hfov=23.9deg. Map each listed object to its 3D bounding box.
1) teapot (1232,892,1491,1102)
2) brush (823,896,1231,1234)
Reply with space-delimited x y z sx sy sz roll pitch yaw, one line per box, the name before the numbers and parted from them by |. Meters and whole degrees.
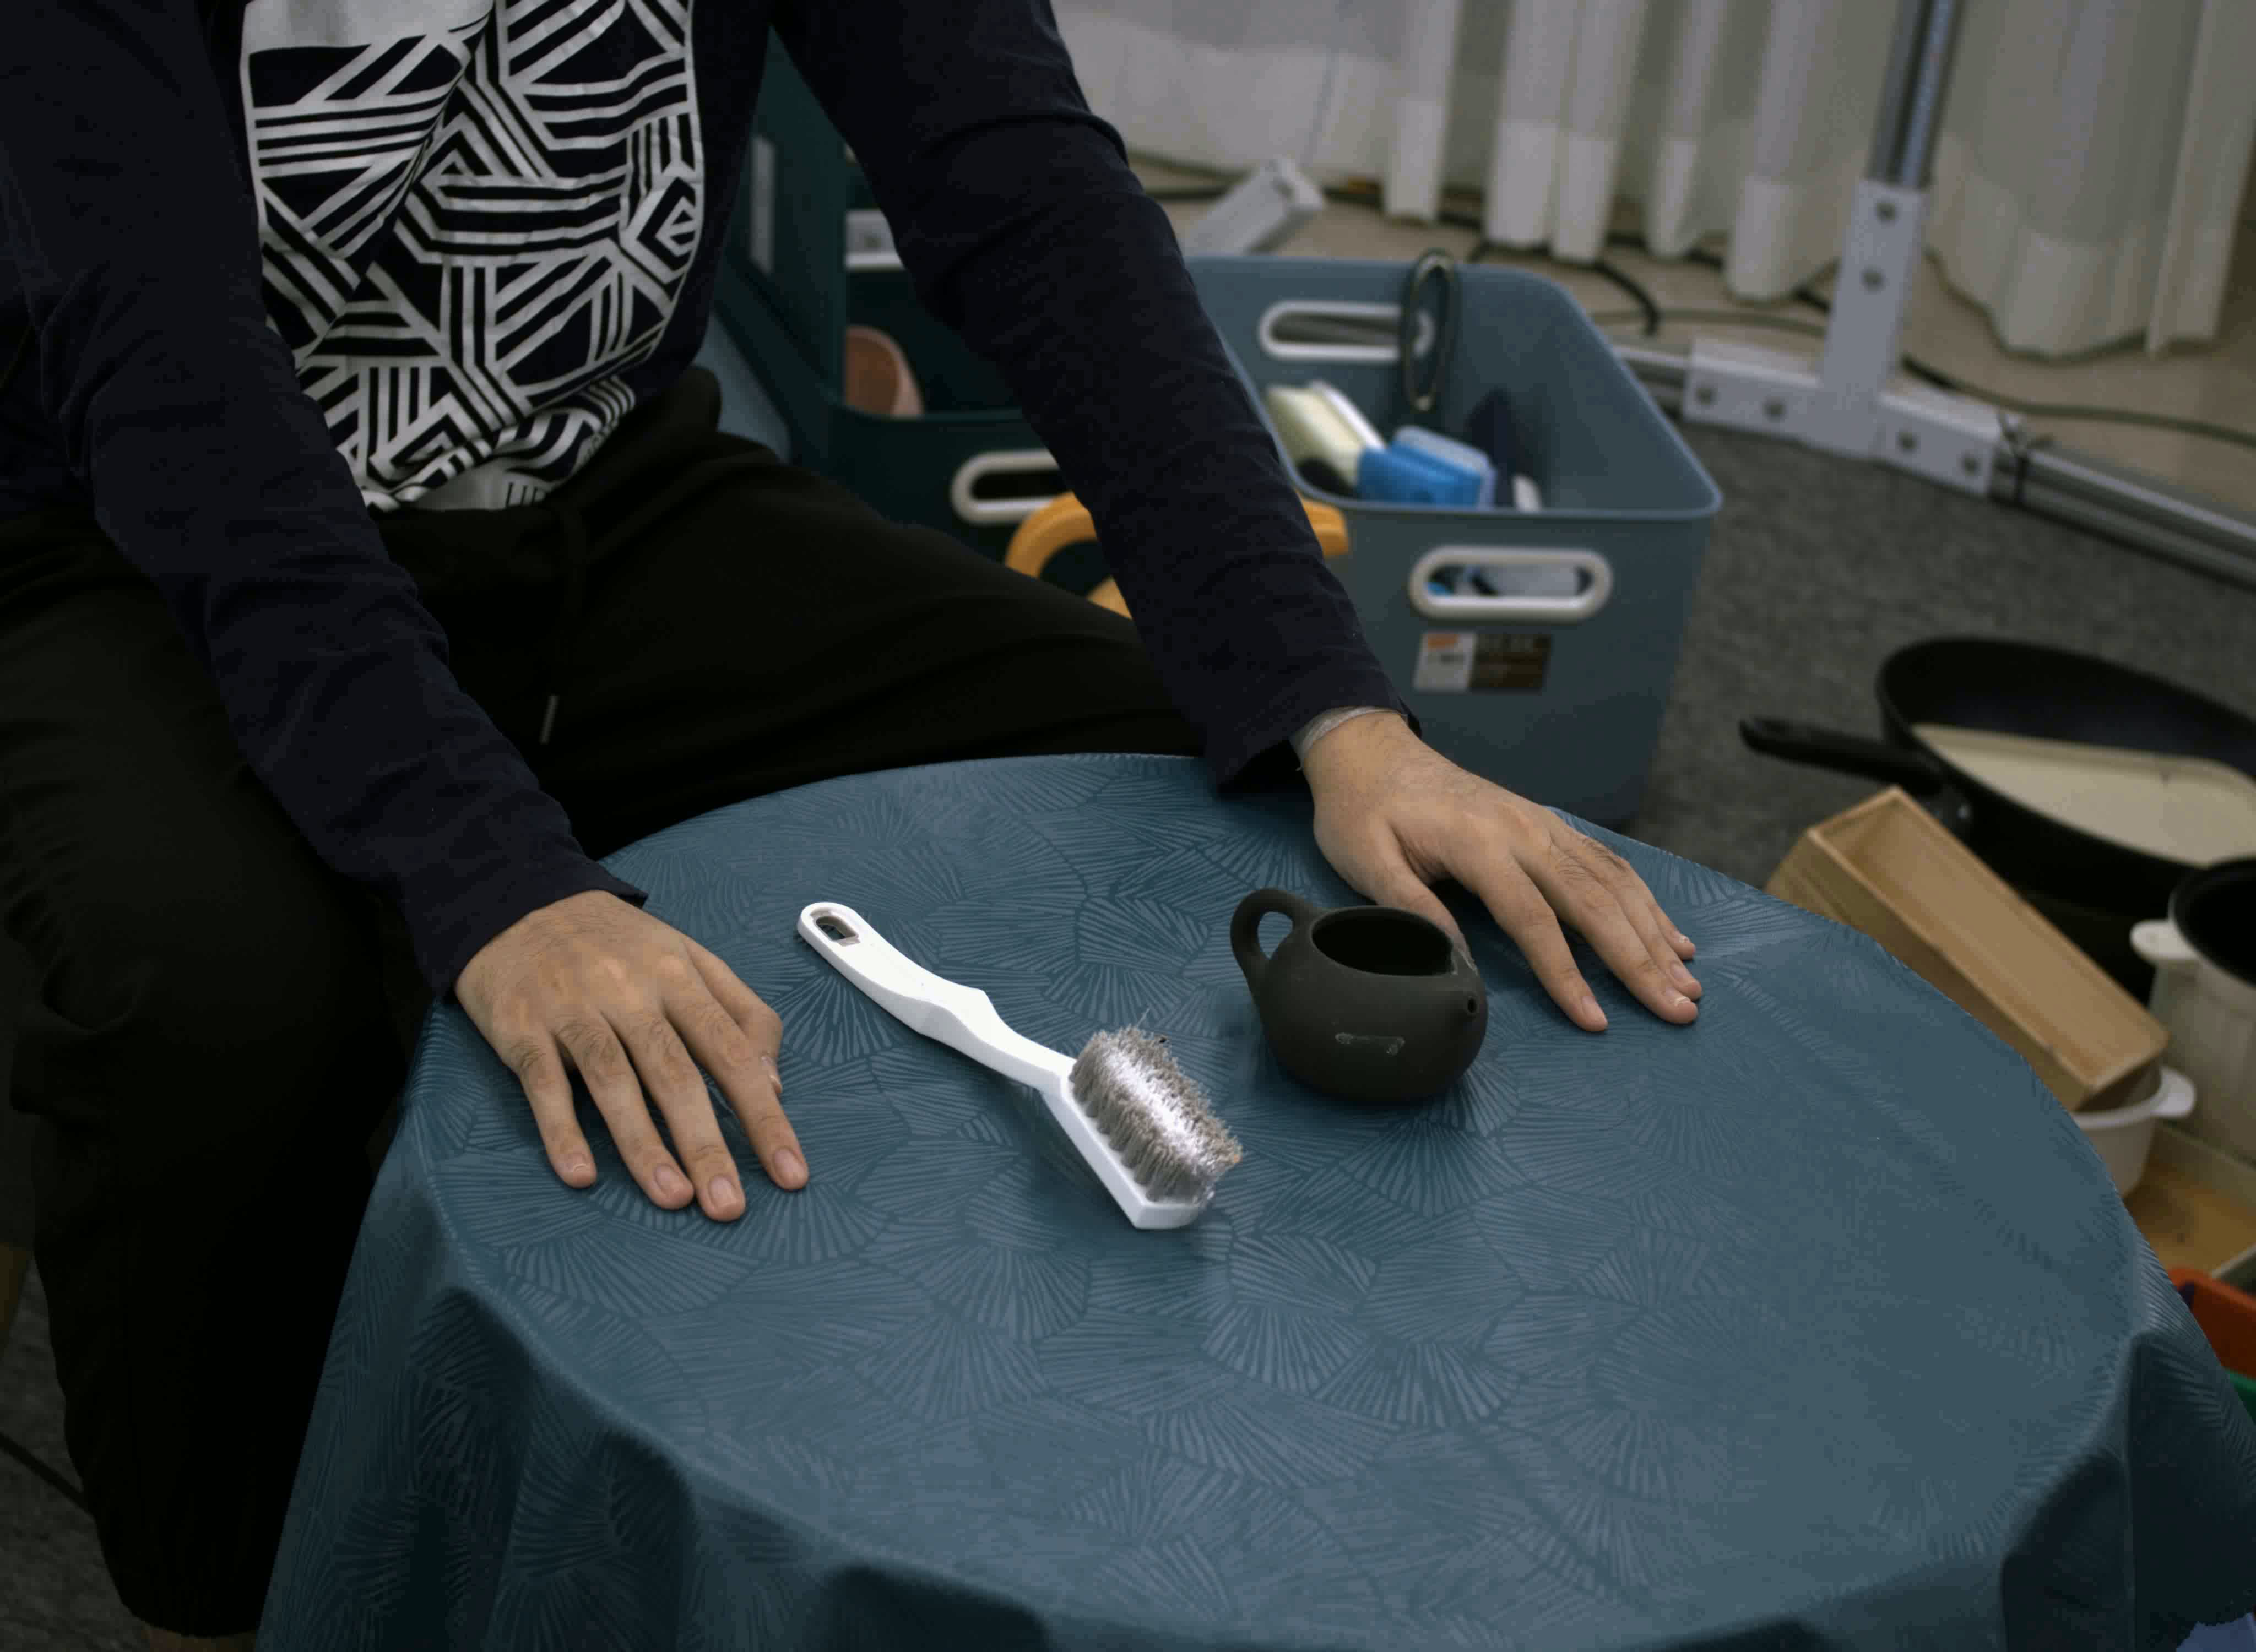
teapot | 0.080 0.058 1.898 0.082 0.053 0.115 -20 37 -40
brush | -0.041 0.066 1.858 0.034 0.050 0.246 -14 34 -28
